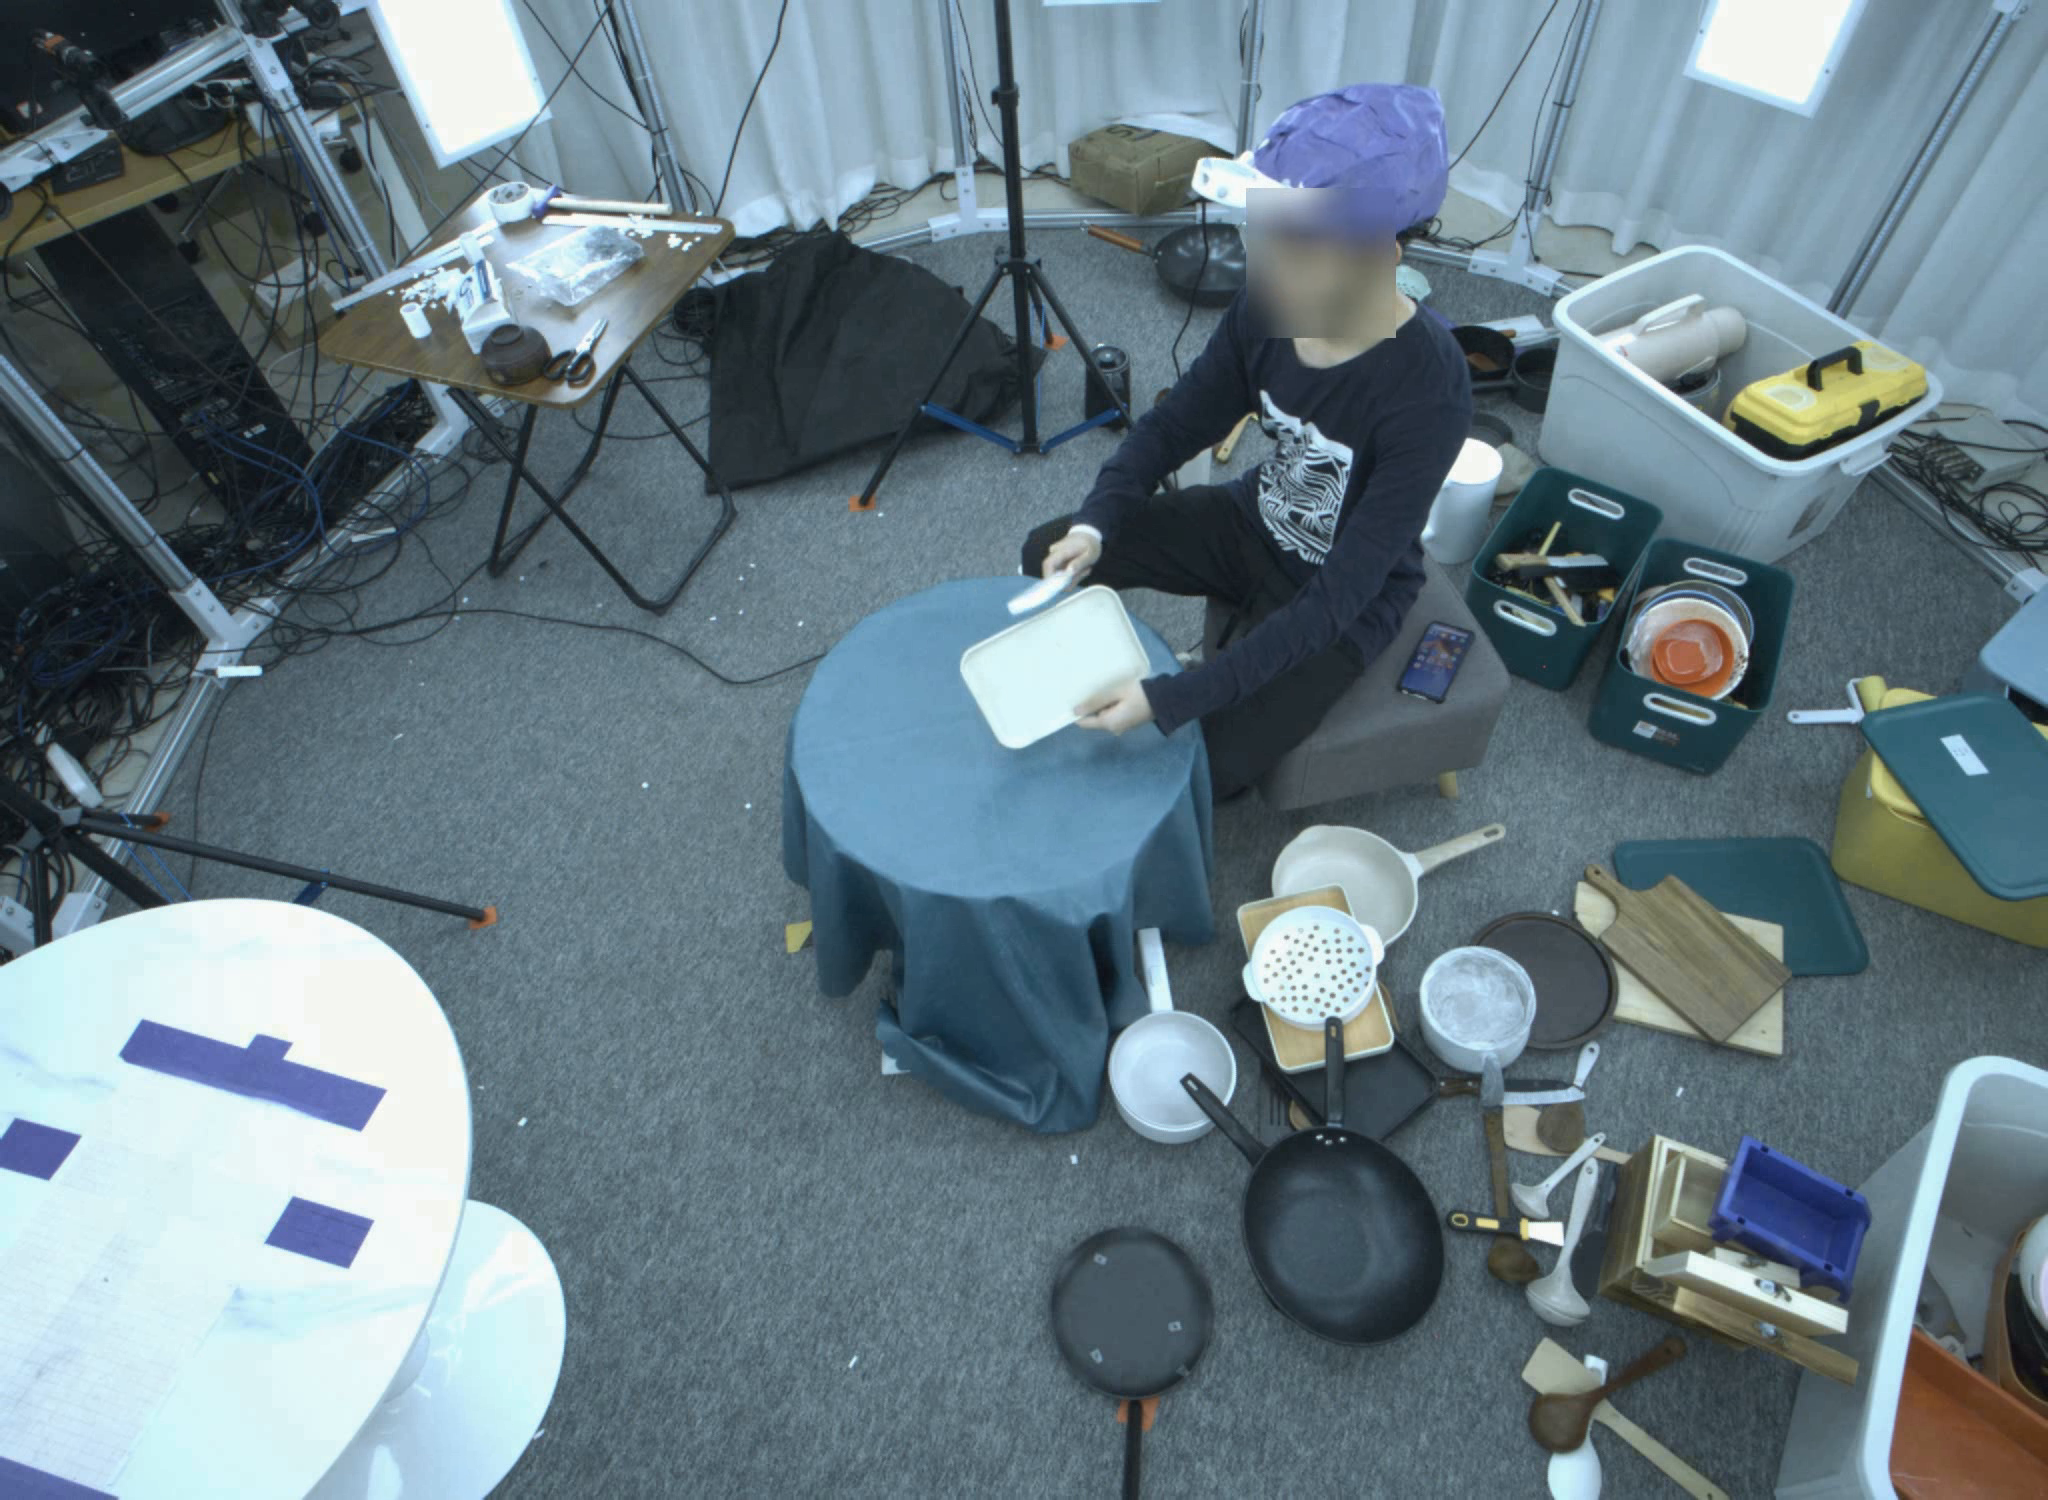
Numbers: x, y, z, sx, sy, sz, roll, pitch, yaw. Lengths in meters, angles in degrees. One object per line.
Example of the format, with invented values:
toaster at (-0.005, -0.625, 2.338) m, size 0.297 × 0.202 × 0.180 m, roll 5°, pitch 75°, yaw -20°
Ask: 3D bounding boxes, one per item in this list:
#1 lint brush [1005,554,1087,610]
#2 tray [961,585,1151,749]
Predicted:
lint brush at (0.040, -0.241, 1.729) m, size 0.059 × 0.021 × 0.310 m, roll -25°, pitch 9°, yaw 24°
tray at (0.045, -0.114, 1.708) m, size 0.239 × 0.174 × 0.017 m, roll -28°, pitch 28°, yaw 2°
